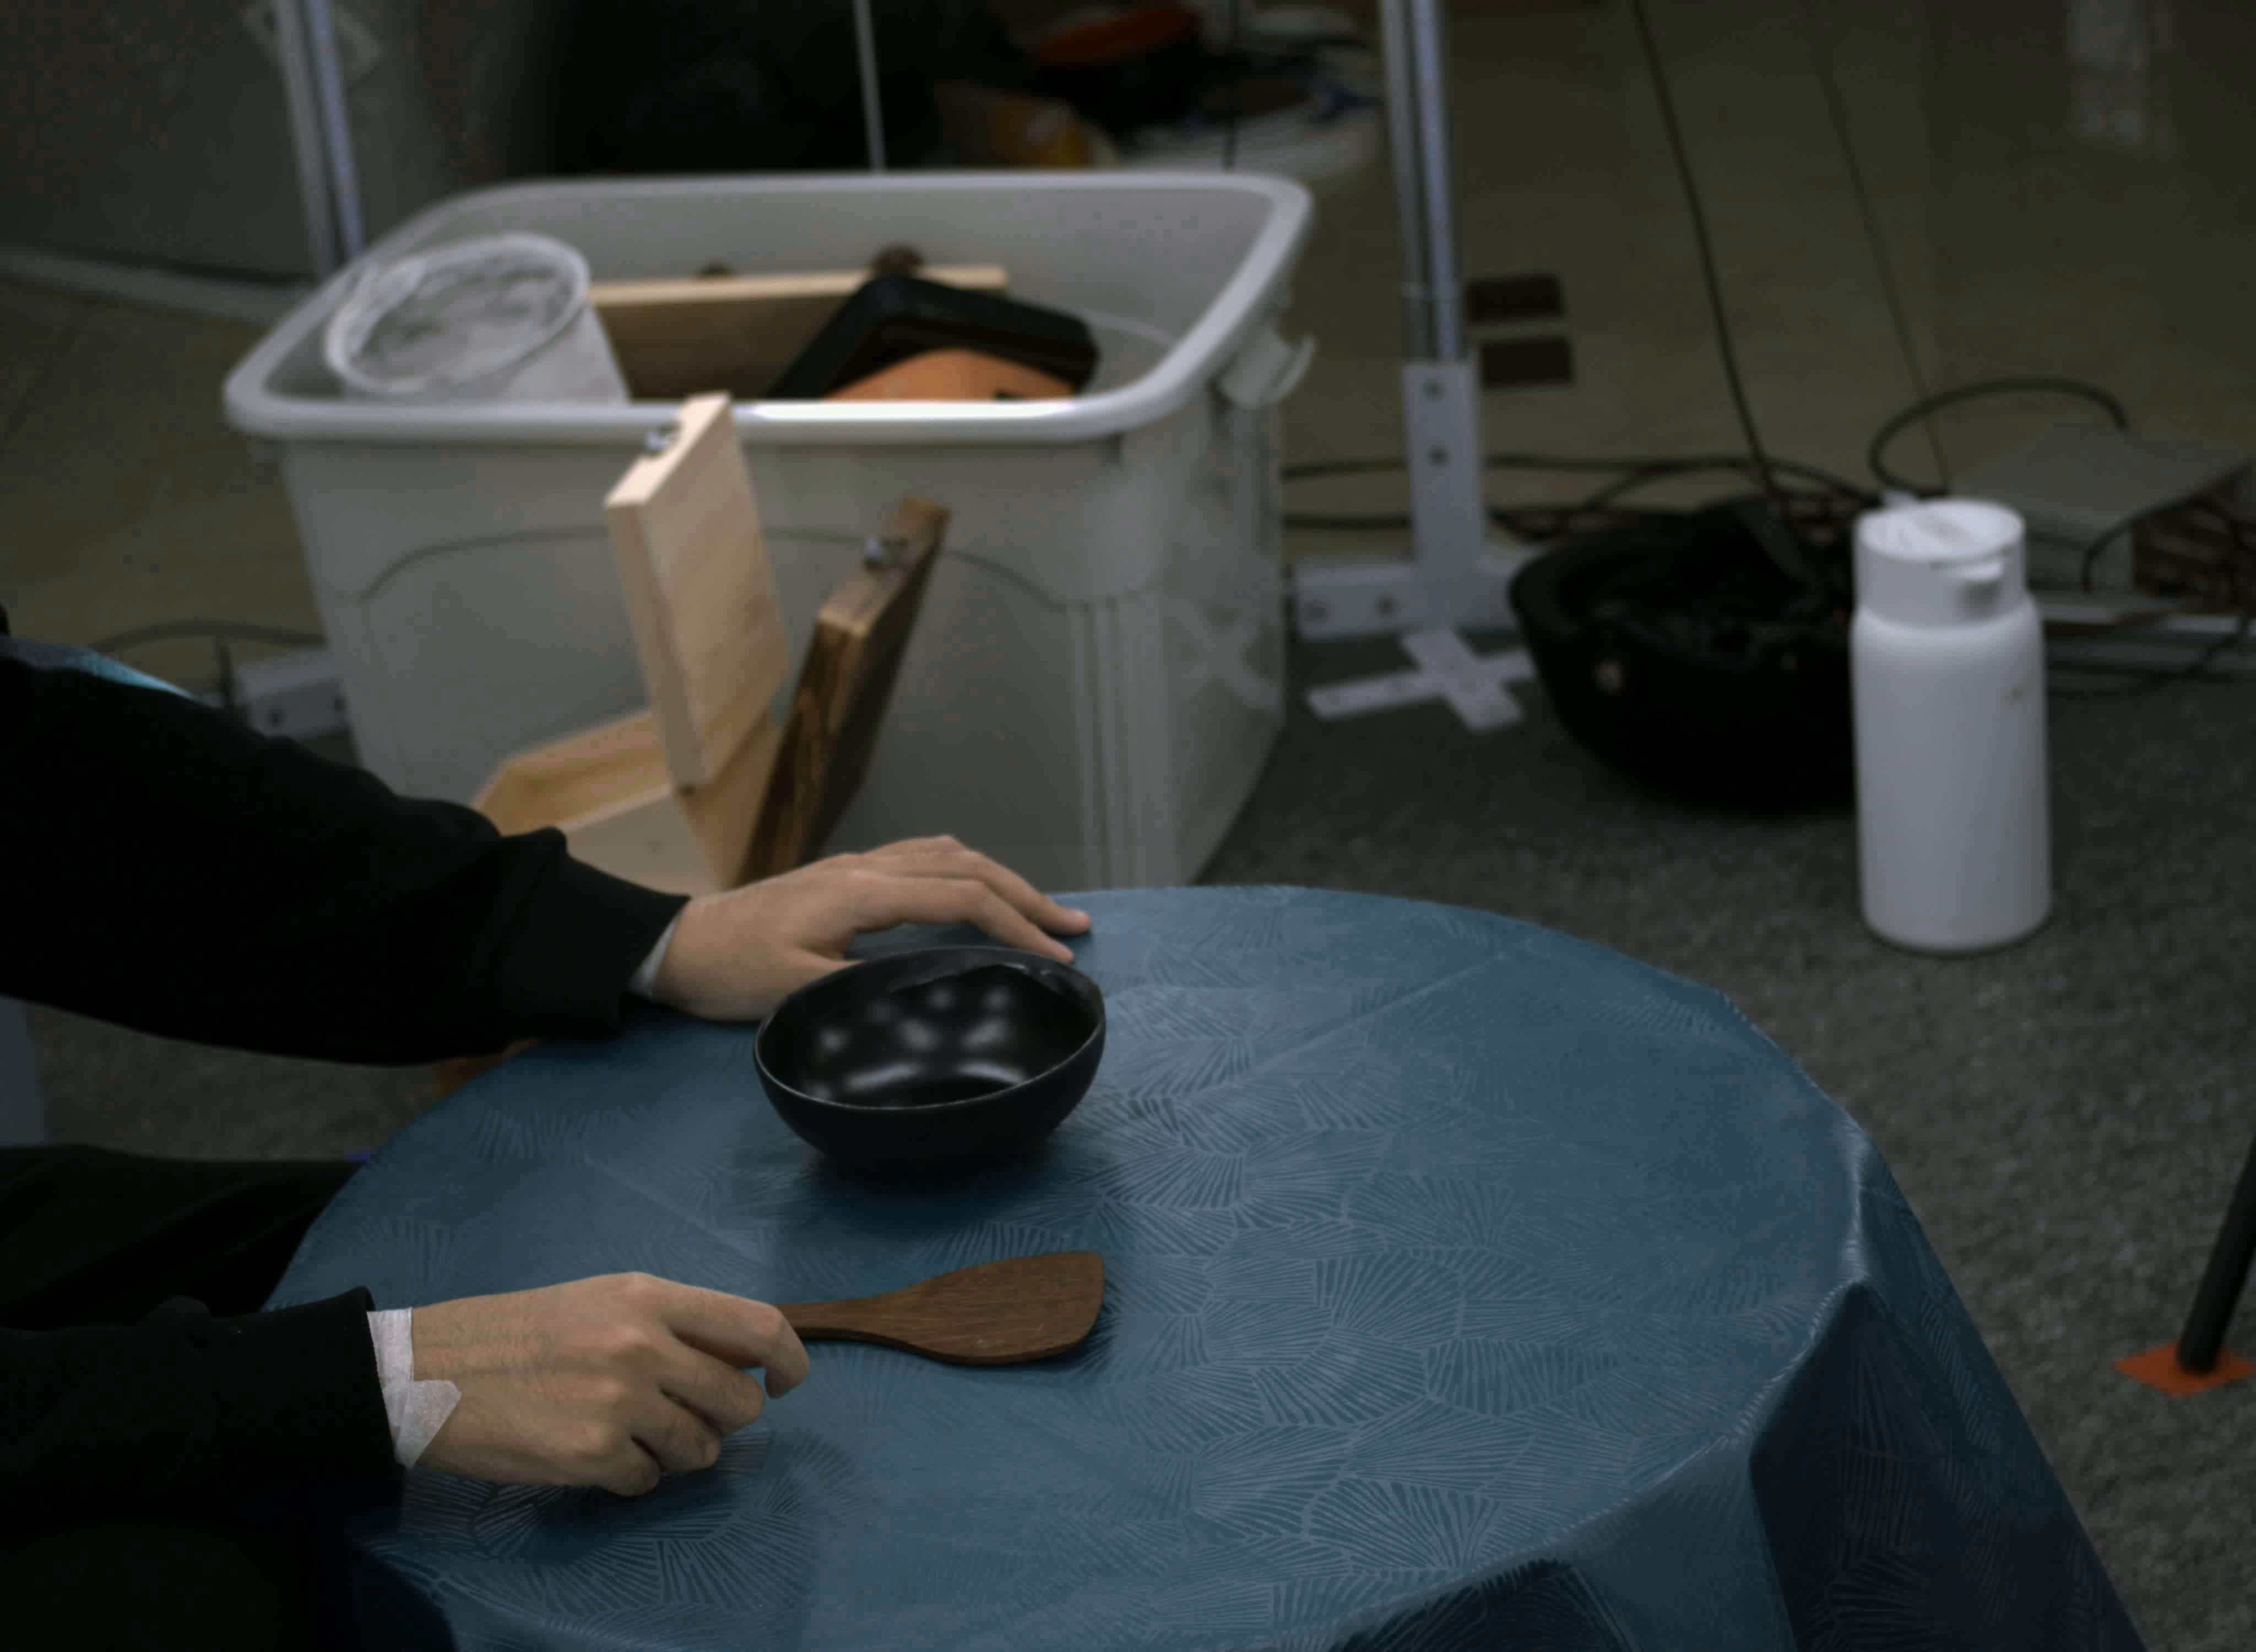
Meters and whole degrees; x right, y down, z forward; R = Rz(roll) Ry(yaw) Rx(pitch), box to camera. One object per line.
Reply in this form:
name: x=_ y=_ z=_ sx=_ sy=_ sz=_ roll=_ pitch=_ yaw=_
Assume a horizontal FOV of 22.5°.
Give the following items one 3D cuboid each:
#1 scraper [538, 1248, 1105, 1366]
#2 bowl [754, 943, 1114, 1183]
scraper: x=-0.113 y=0.182 z=2.081 sx=0.211 sy=0.011 sz=0.075 roll=-4 pitch=24 yaw=7
bowl: x=-0.073 y=0.099 z=2.200 sx=0.140 sy=0.050 sz=0.138 roll=-6 pitch=28 yaw=3
